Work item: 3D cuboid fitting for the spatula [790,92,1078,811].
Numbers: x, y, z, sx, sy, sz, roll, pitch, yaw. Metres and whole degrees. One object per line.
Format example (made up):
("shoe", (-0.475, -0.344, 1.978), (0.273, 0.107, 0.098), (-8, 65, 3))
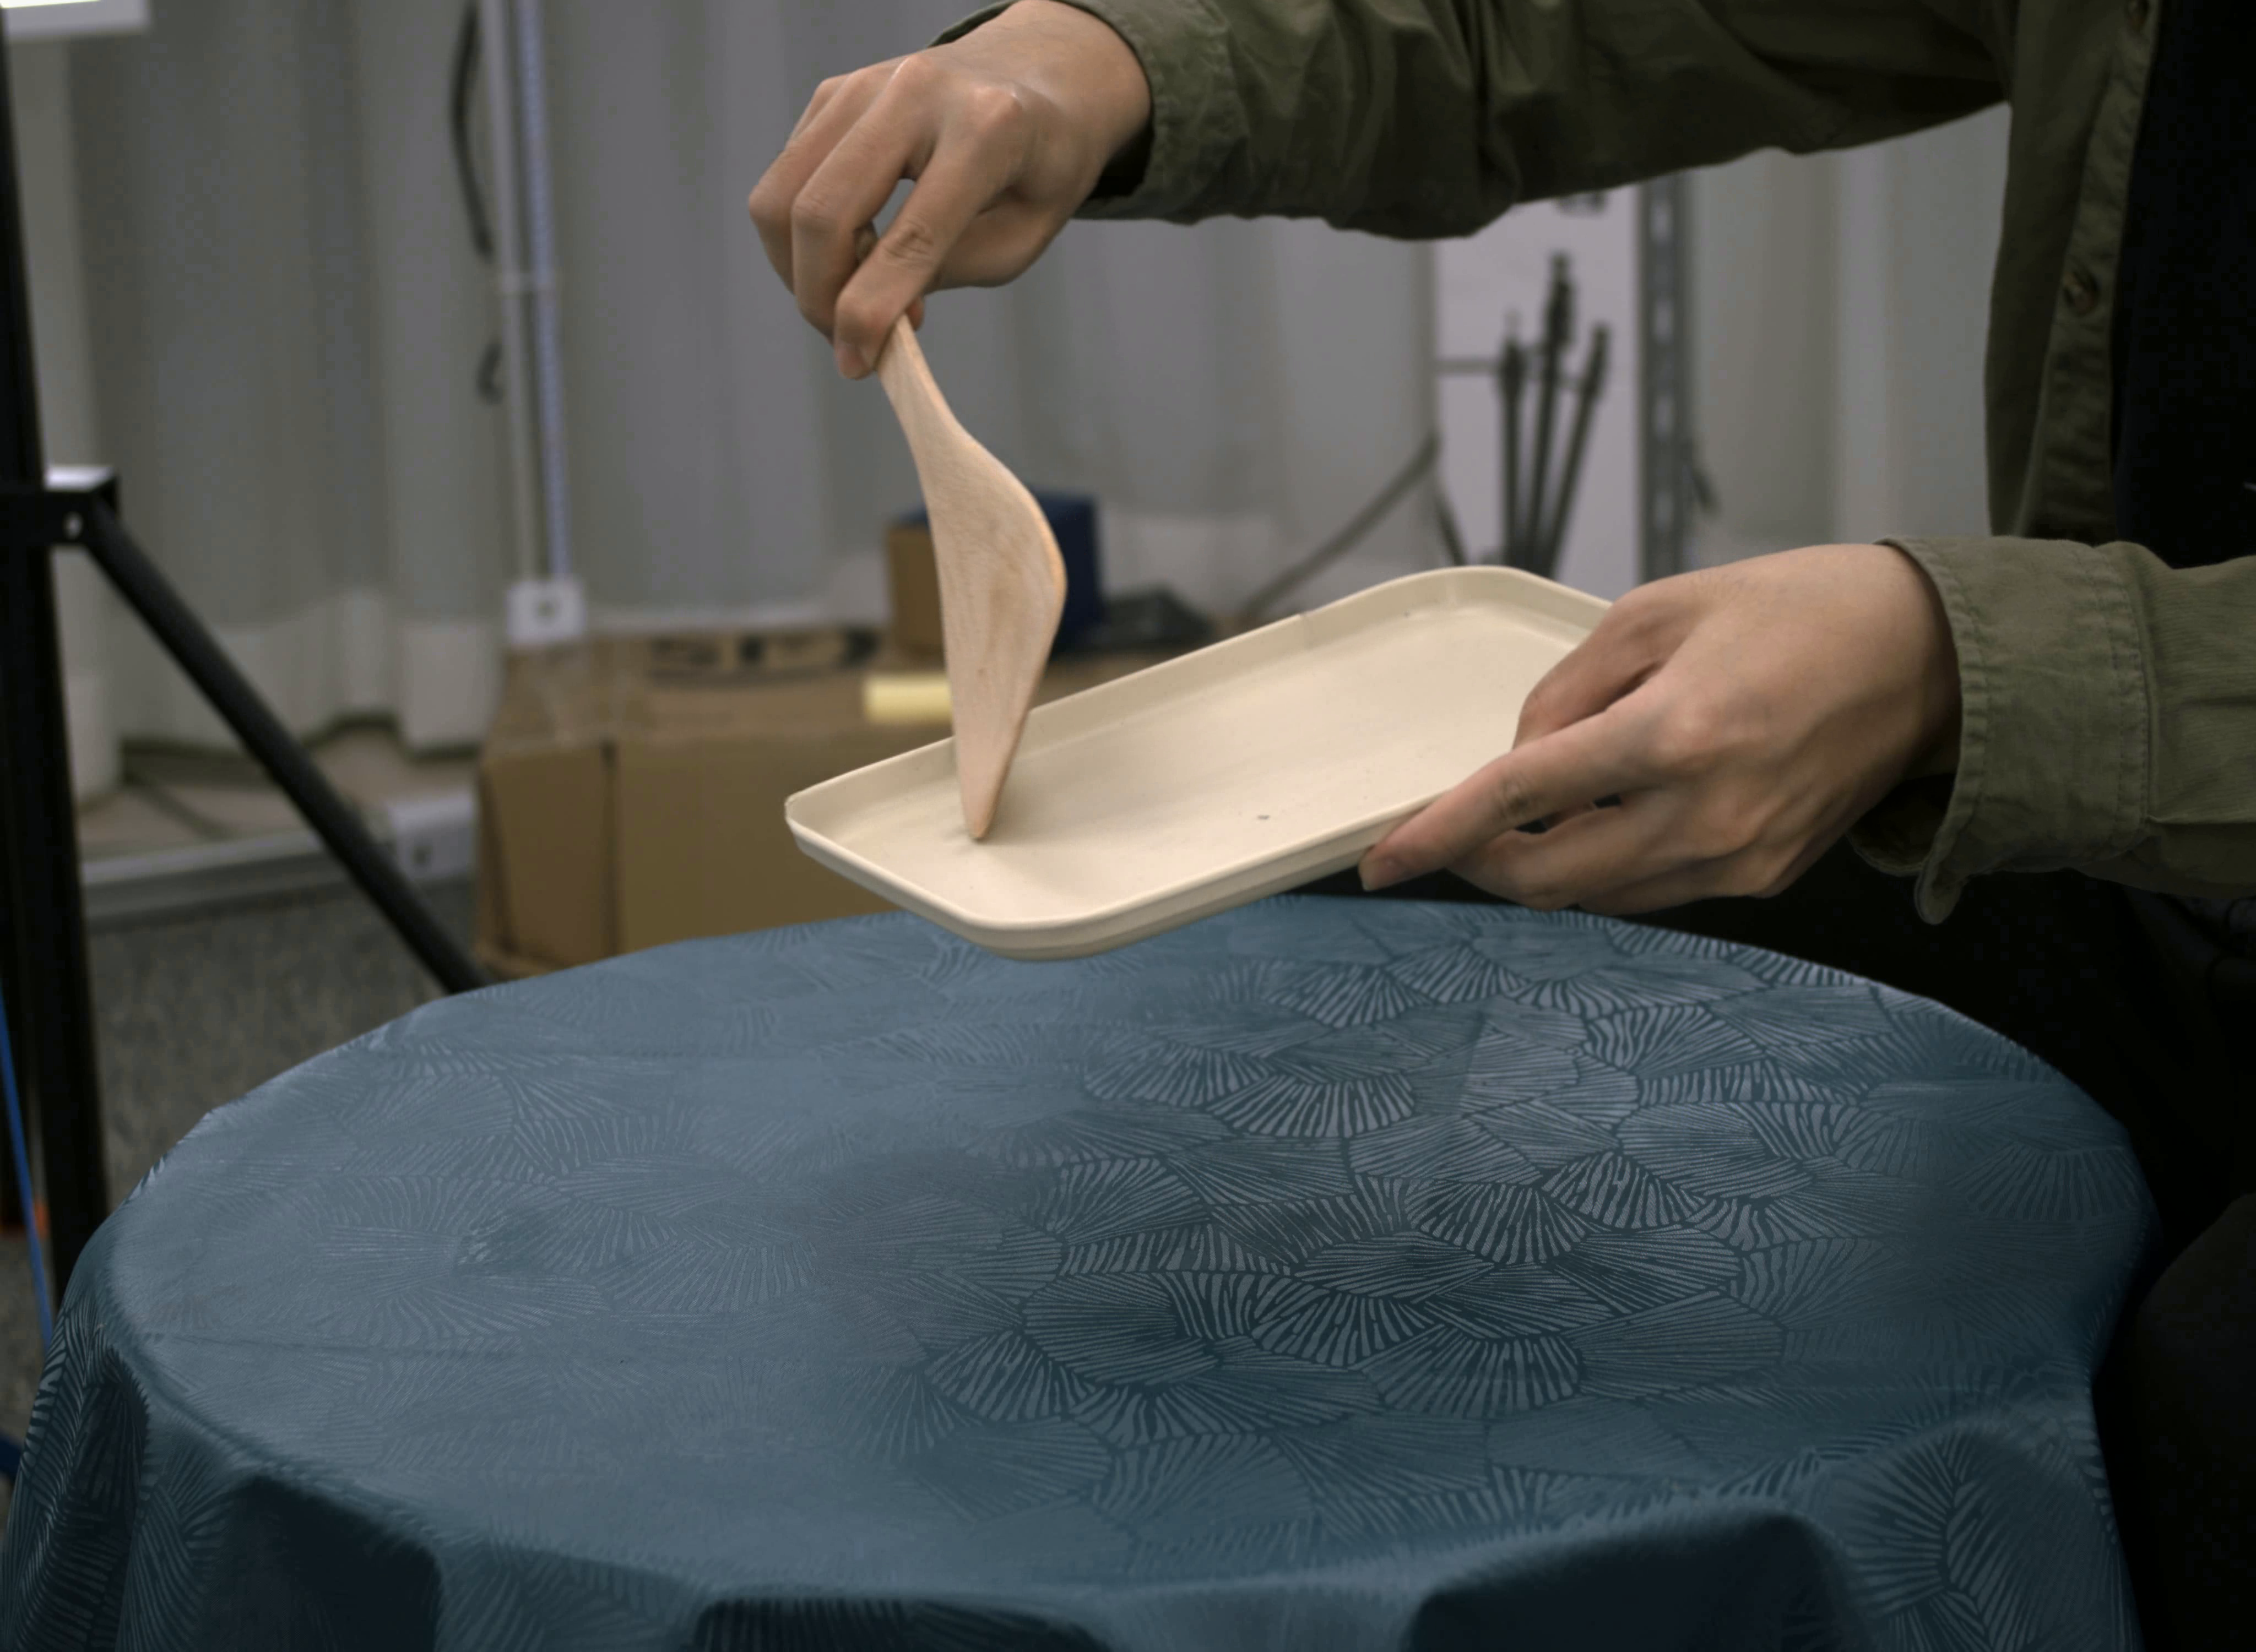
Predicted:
("spatula", (-0.063, -0.129, 1.569), (0.016, 0.080, 0.333), (8, 34, -24))

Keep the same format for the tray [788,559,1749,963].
("tray", (0.038, -0.019, 1.458), (0.236, 0.017, 0.175), (-20, 21, -21))
